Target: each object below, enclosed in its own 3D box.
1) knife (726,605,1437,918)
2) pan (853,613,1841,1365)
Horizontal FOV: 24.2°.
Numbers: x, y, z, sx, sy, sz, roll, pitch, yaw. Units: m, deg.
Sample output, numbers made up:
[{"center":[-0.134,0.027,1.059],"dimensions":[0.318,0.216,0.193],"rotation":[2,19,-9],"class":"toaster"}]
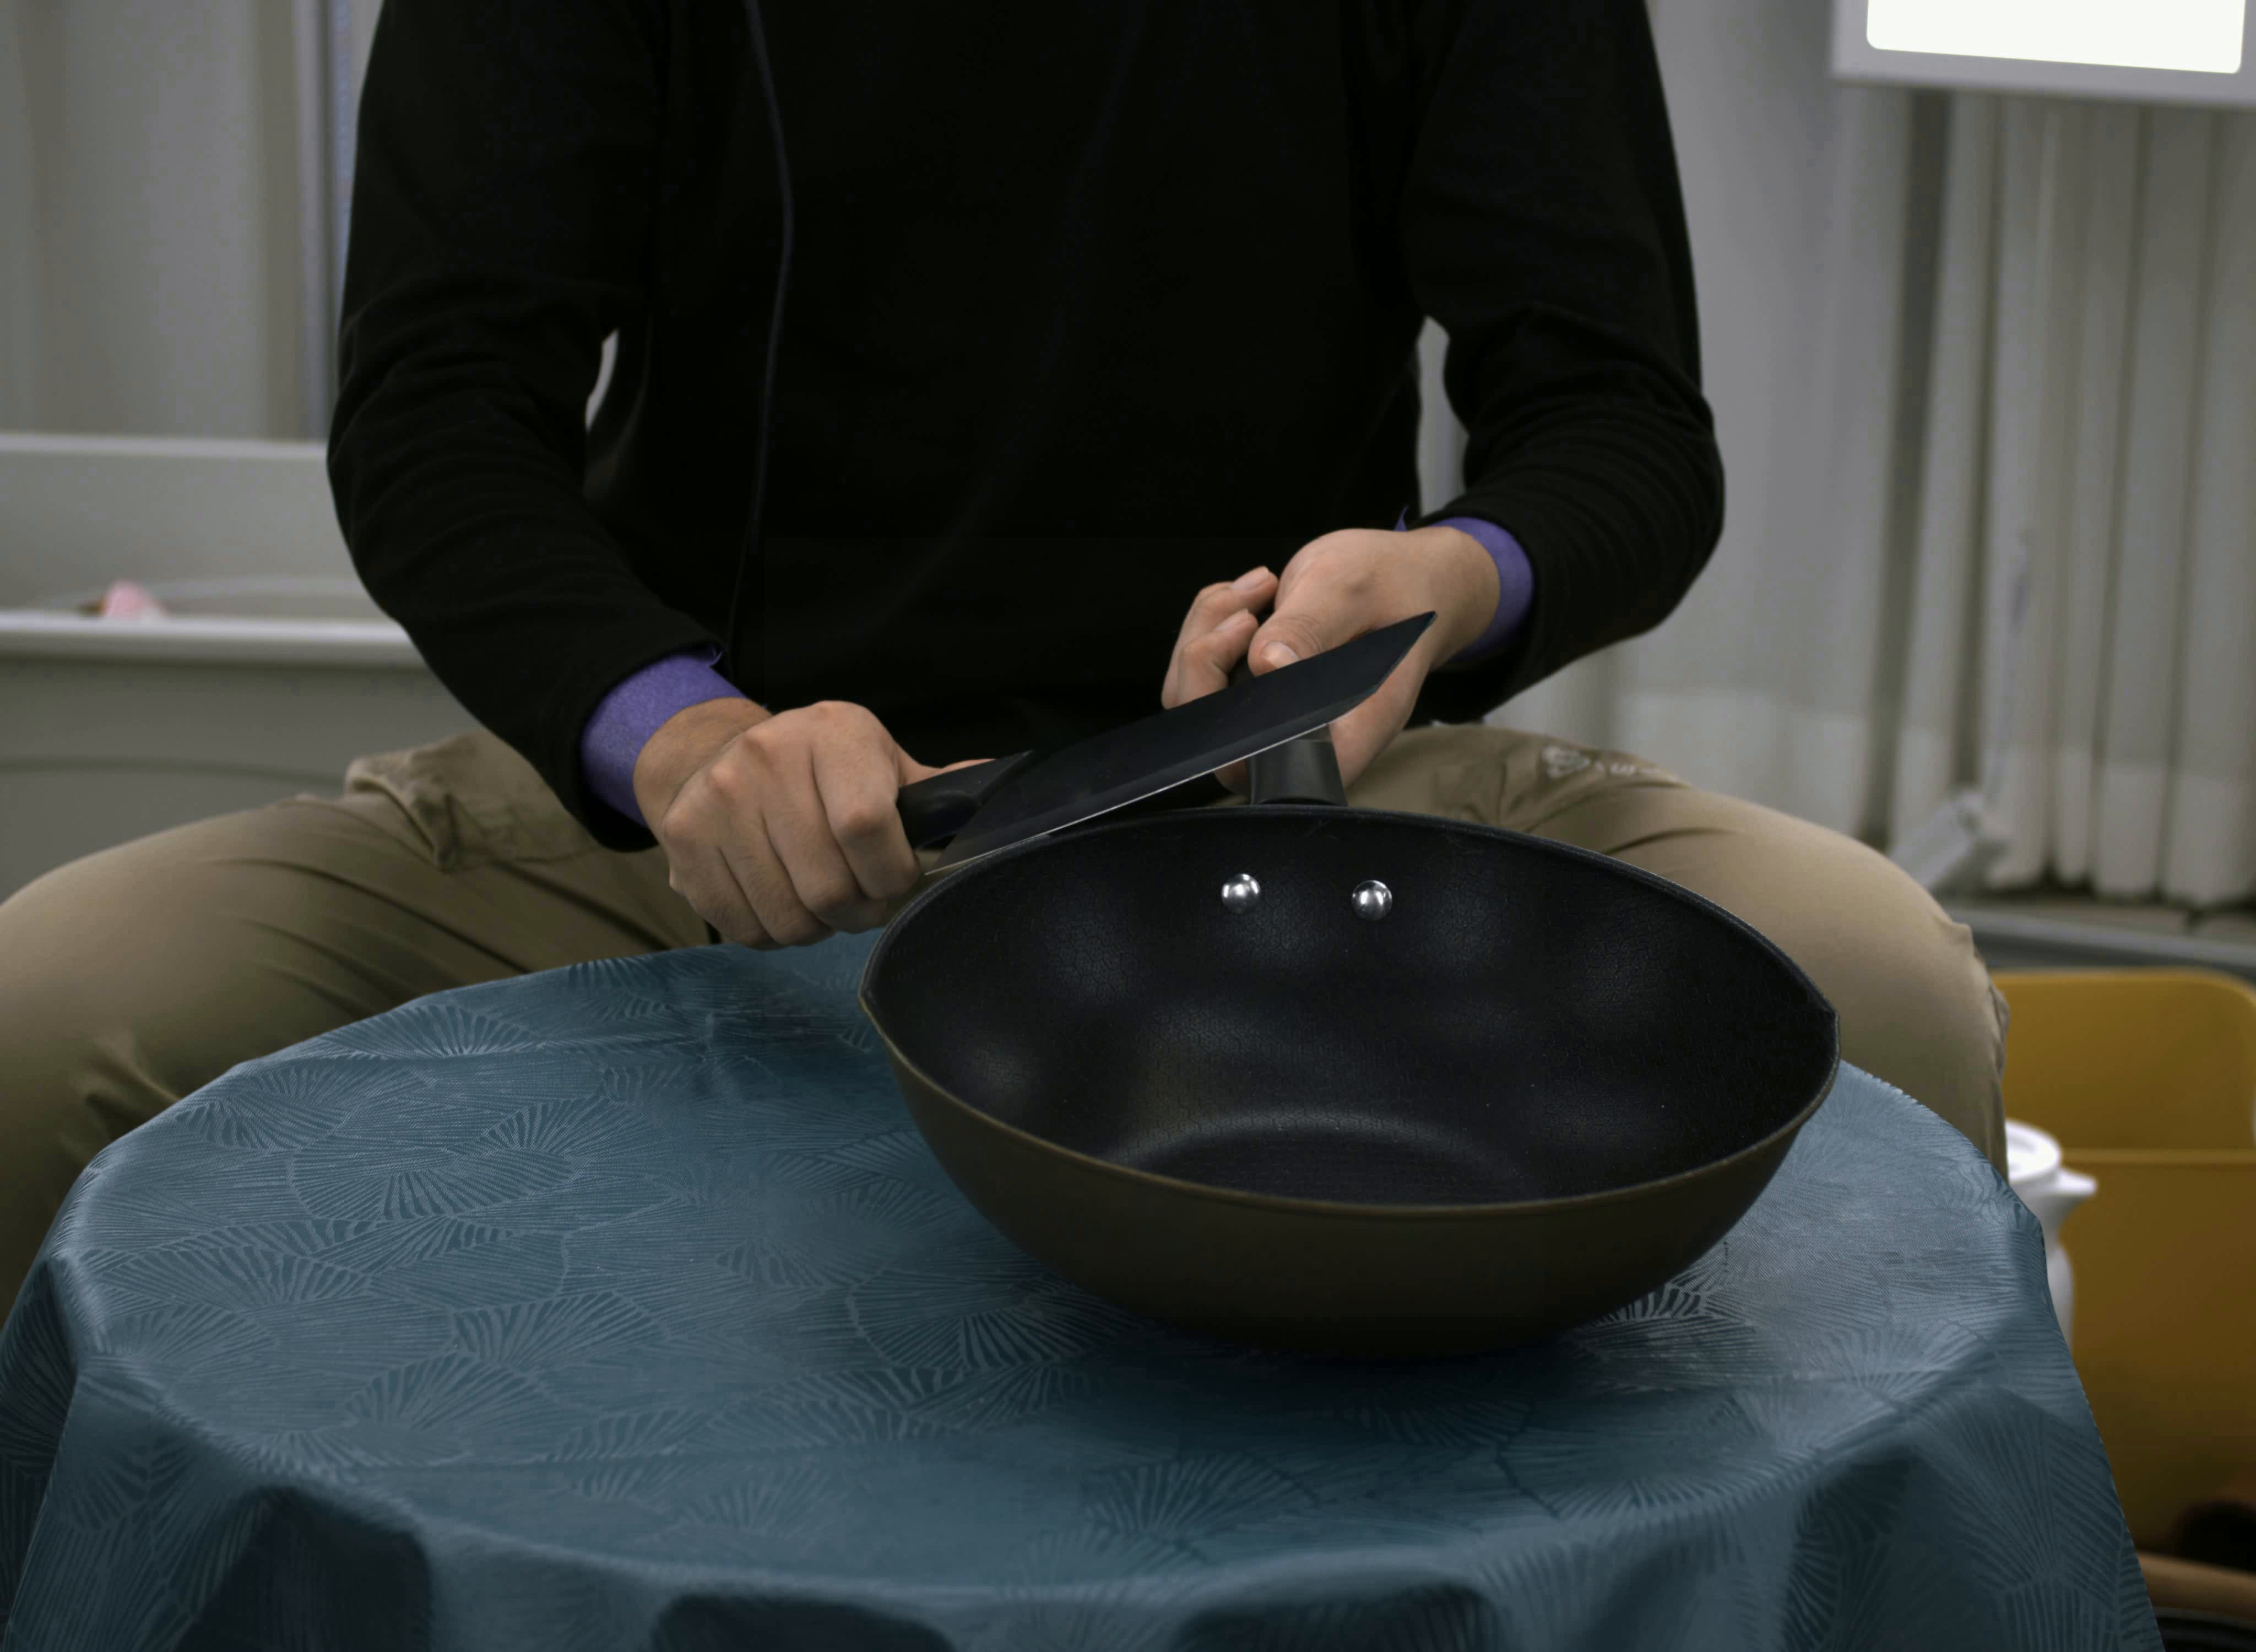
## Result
[{"center":[-0.024,-0.013,1.660],"dimensions":[0.300,0.021,0.081],"rotation":[-18,21,44],"class":"knife"},{"center":[0.057,0.049,1.621],"dimensions":[0.288,0.088,0.459],"rotation":[2,23,-5],"class":"pan"}]
